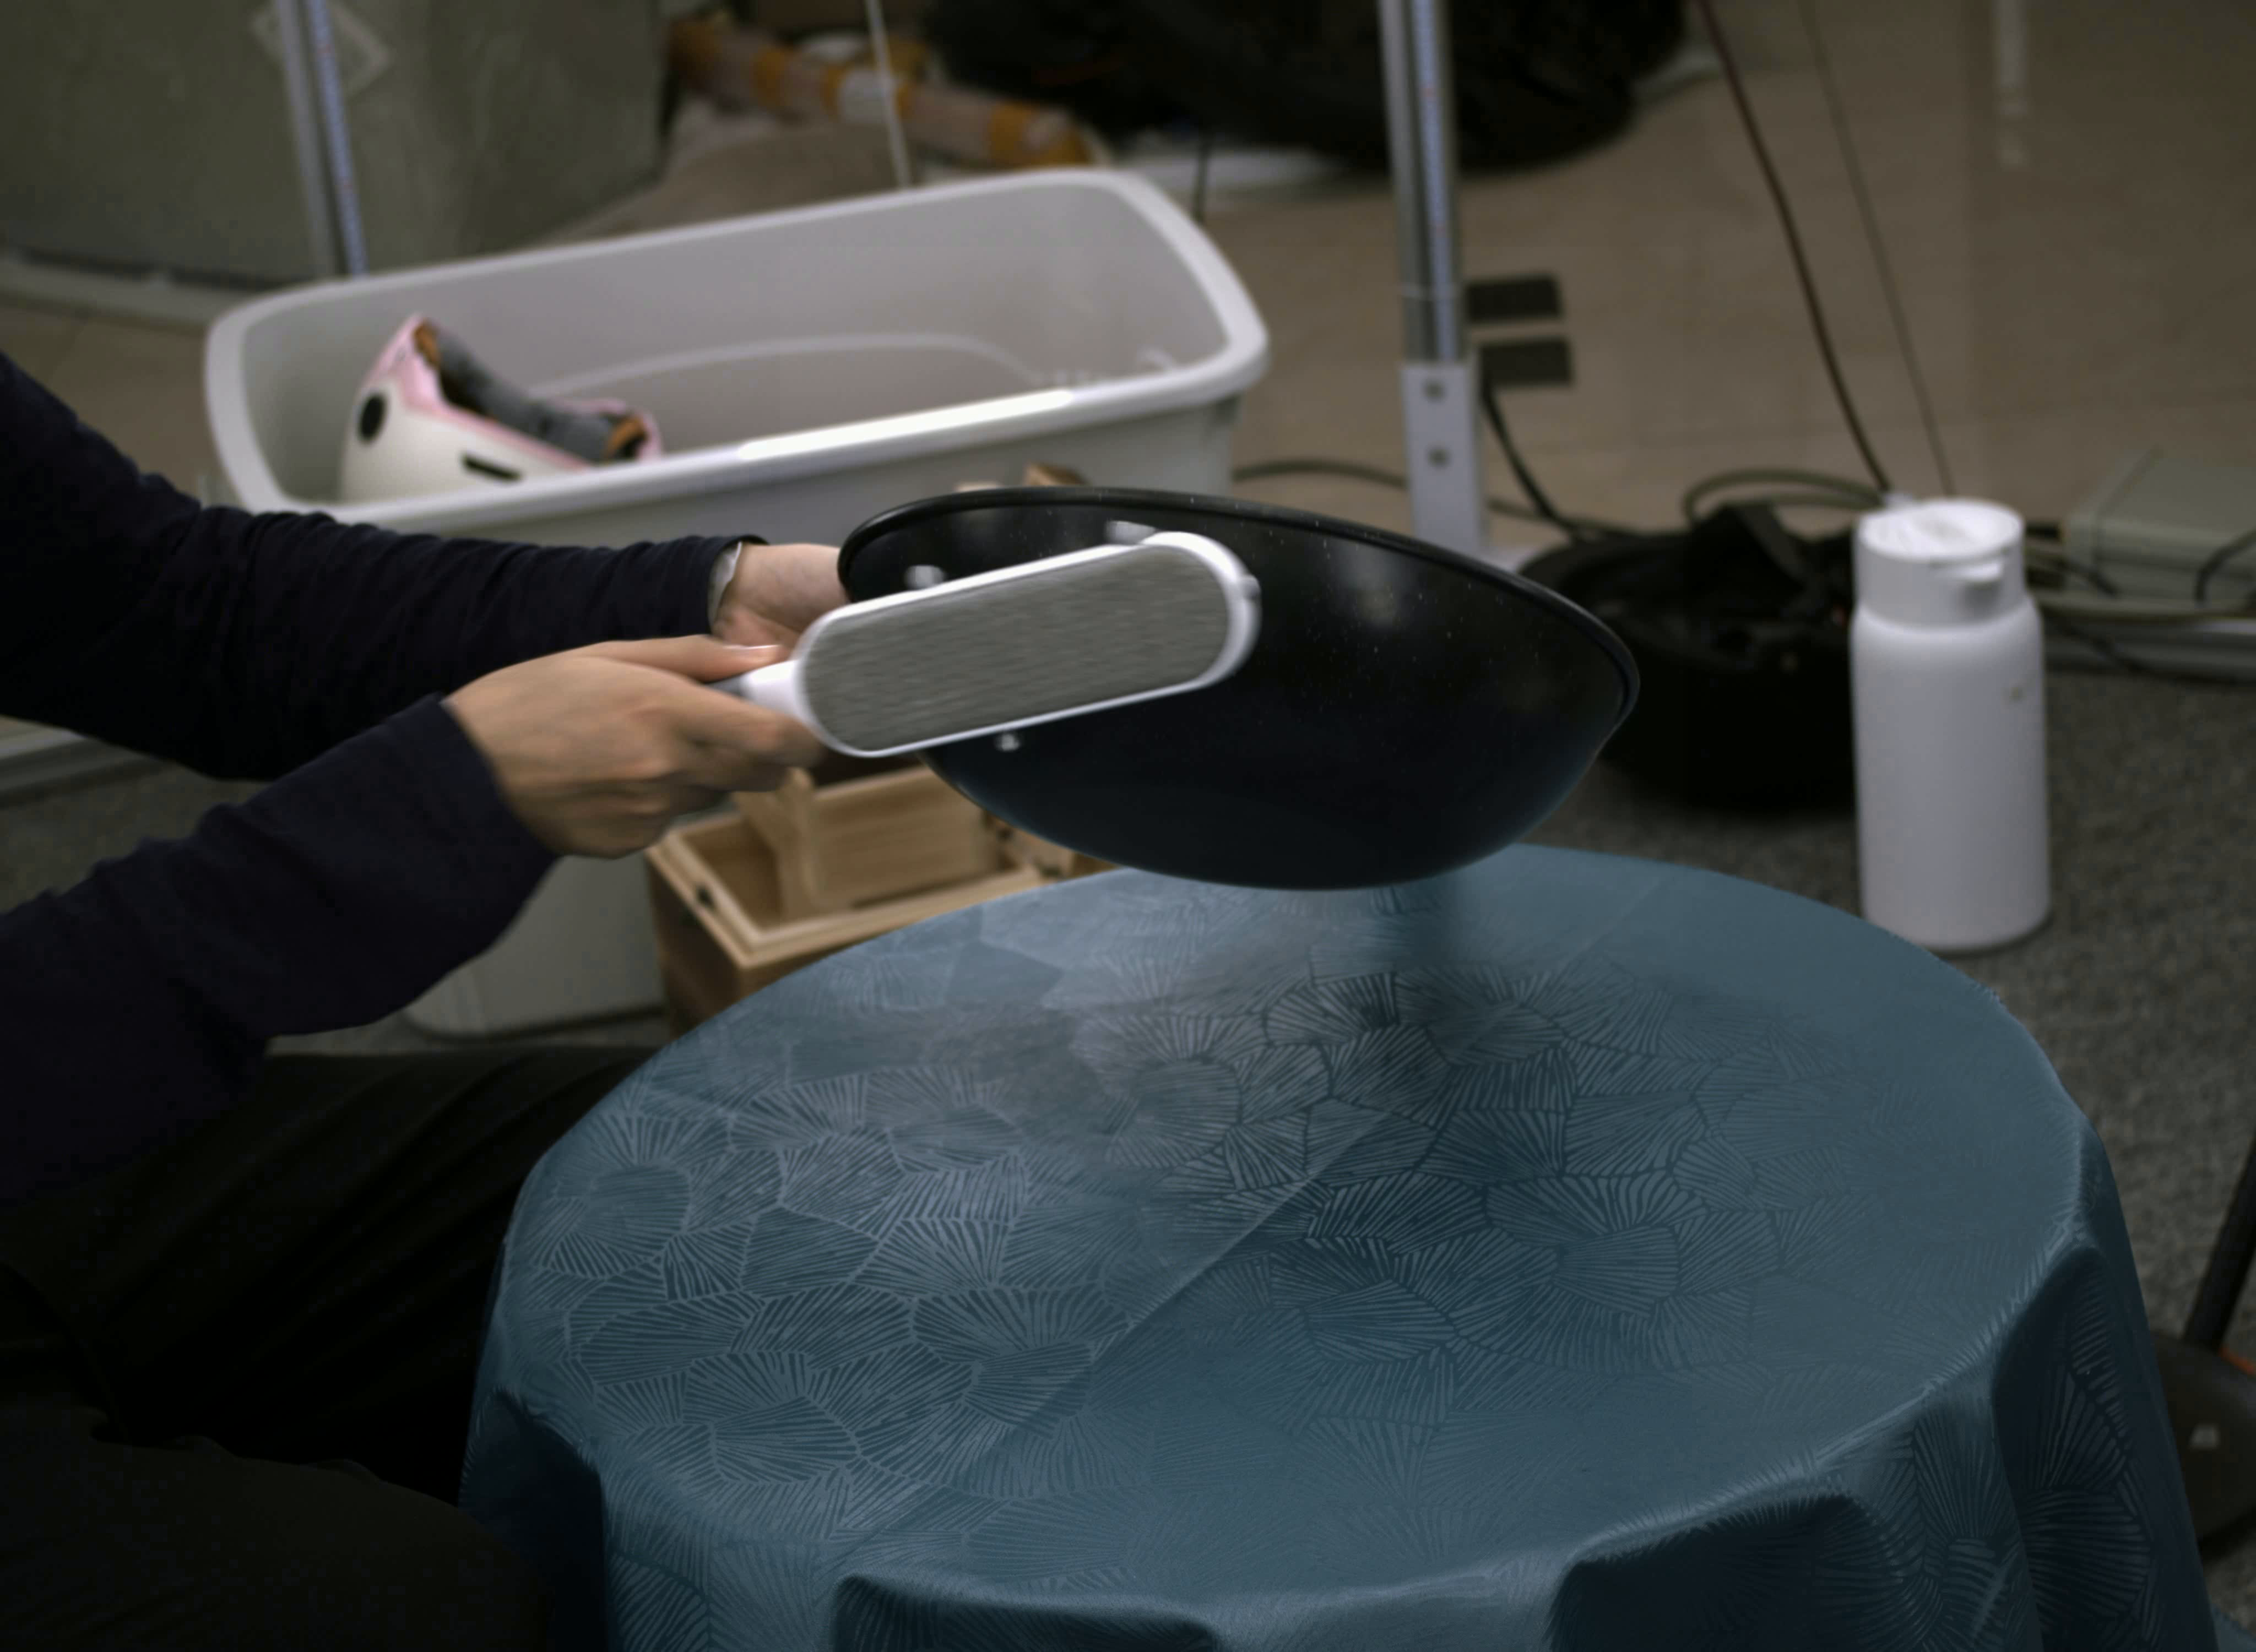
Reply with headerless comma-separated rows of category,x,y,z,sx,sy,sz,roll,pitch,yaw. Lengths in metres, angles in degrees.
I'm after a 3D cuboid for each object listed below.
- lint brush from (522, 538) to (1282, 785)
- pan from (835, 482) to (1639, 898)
lint brush,-0.086,-0.054,2.044,0.309,0.060,0.020,-11,16,24
pan,0.056,-0.025,2.219,0.309,0.111,0.481,7,-14,16
